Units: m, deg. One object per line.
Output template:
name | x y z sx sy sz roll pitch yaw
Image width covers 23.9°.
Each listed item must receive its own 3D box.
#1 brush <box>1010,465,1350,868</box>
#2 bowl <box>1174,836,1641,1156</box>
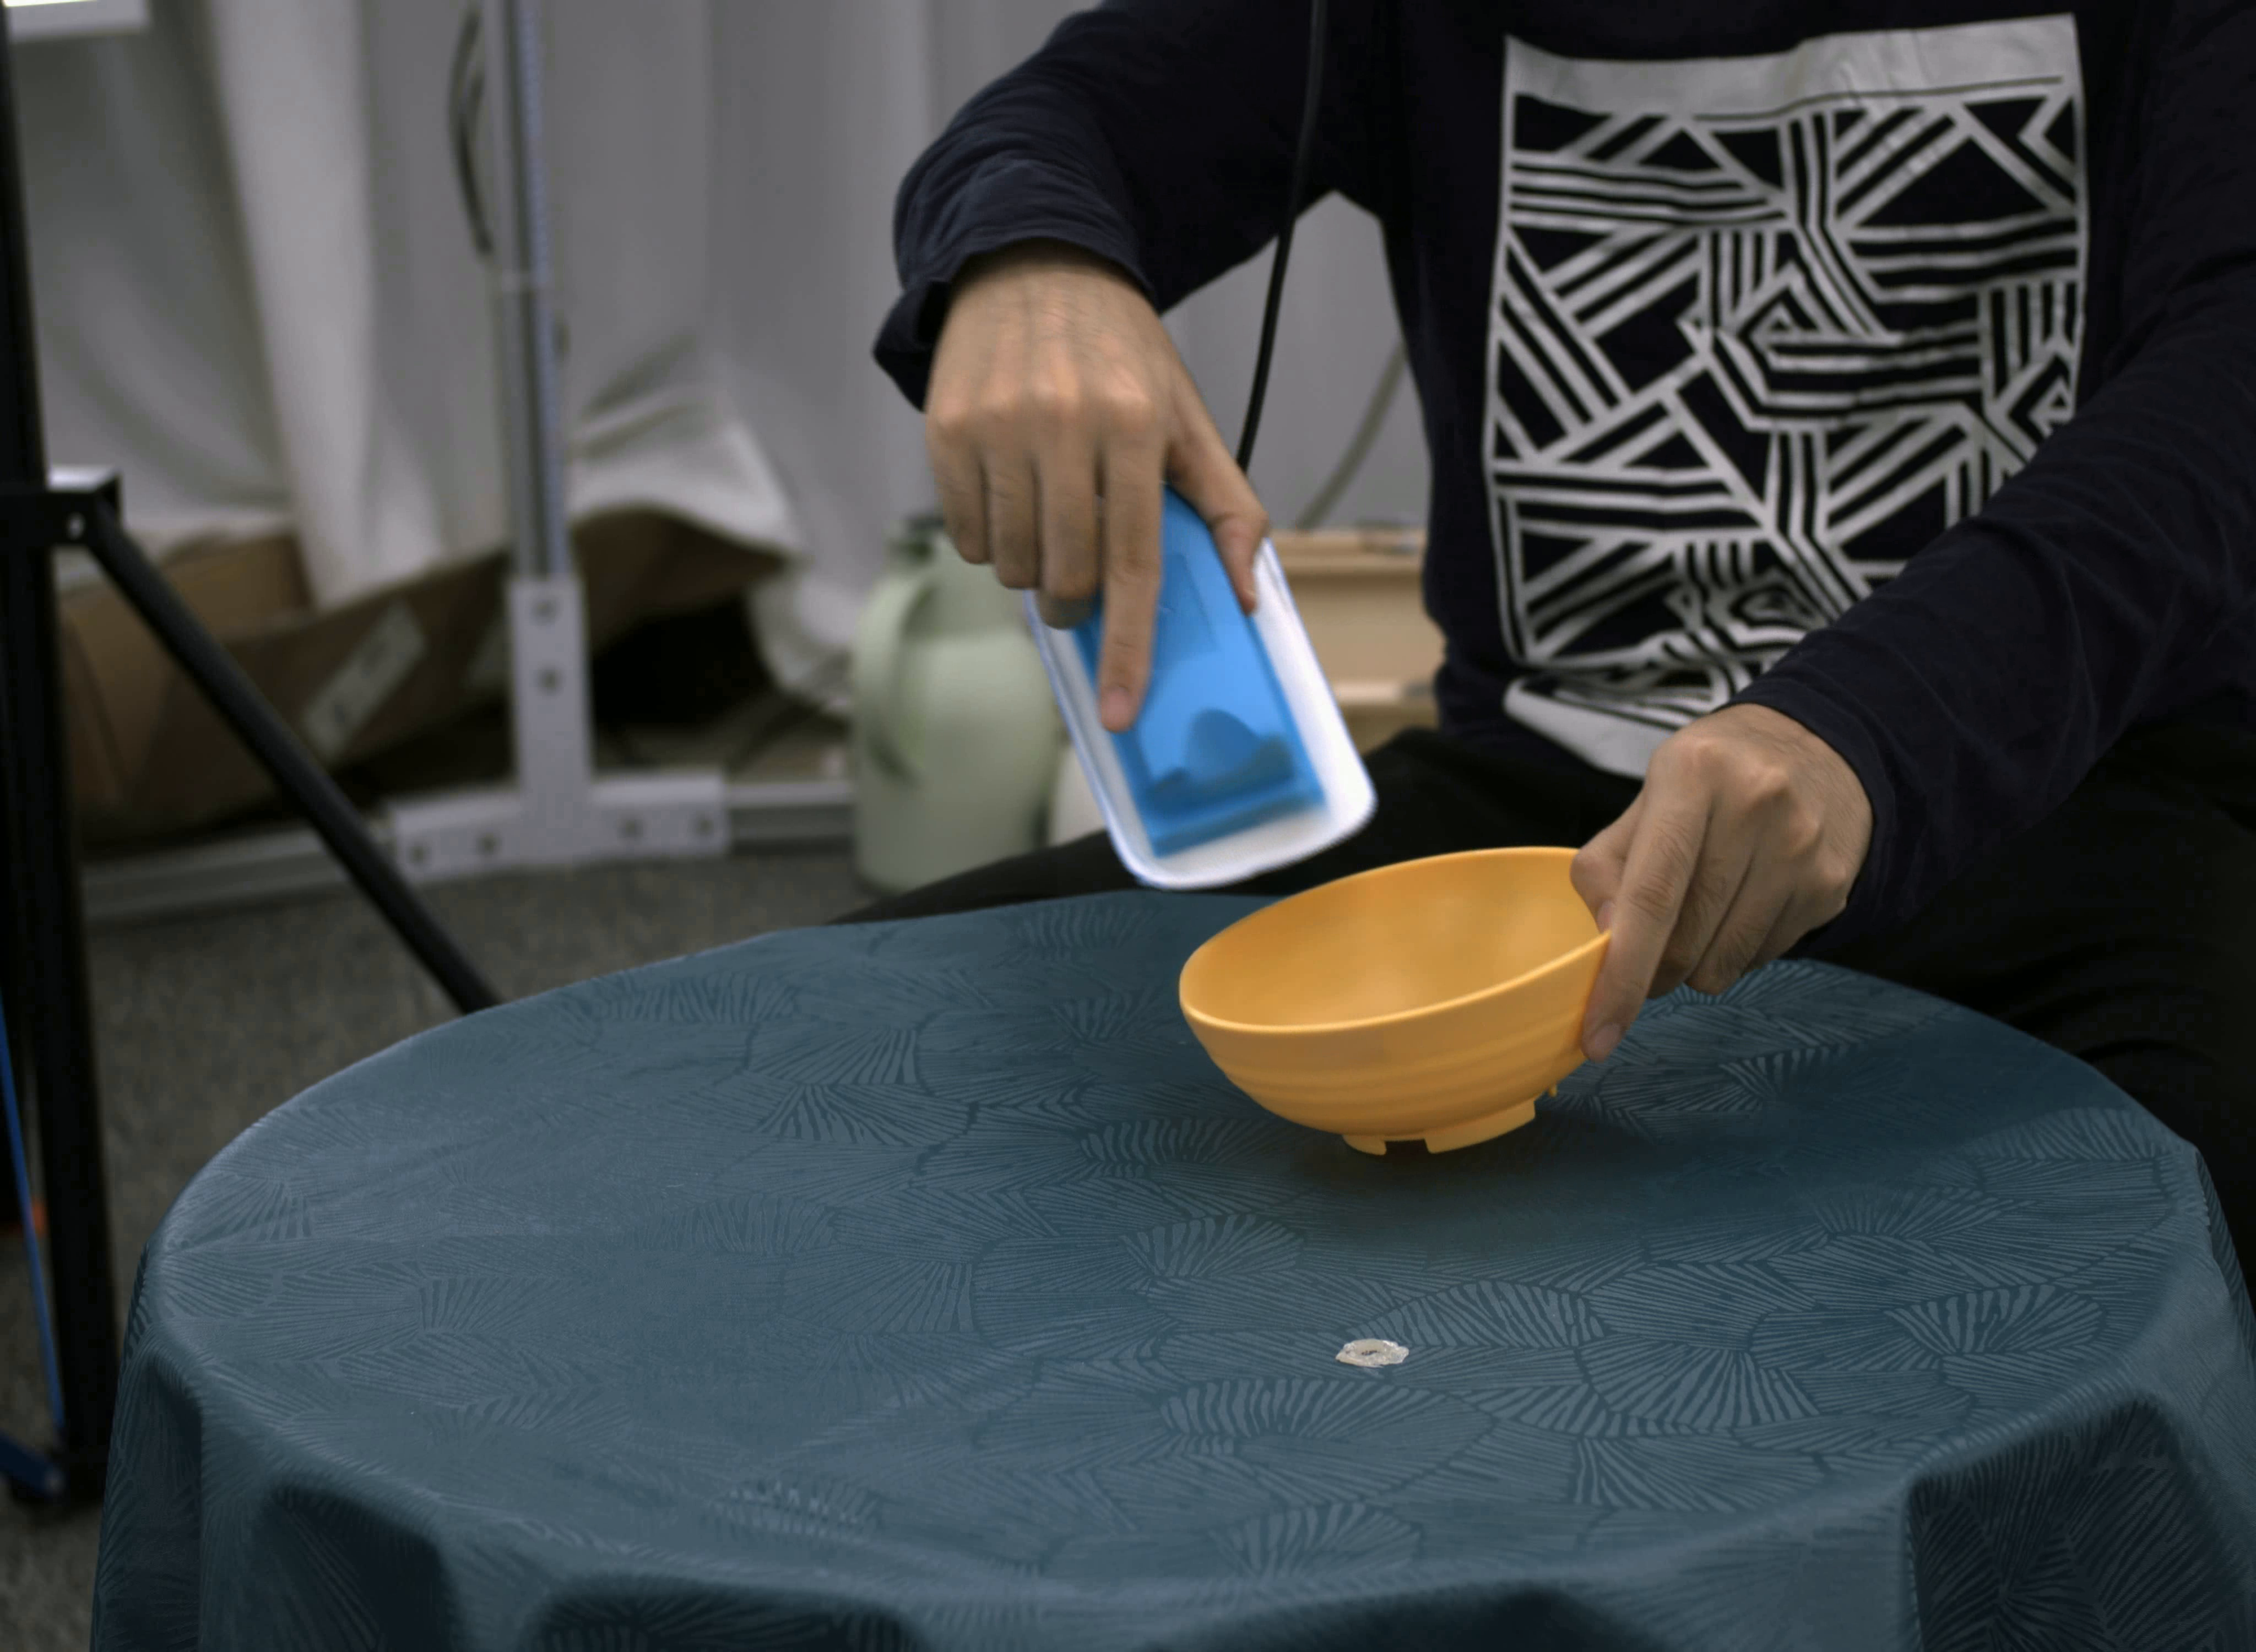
brush | 0.017 -0.057 1.644 0.083 0.055 0.146 -14 56 -5
bowl | 0.090 0.059 1.592 0.145 0.060 0.146 -15 17 3
